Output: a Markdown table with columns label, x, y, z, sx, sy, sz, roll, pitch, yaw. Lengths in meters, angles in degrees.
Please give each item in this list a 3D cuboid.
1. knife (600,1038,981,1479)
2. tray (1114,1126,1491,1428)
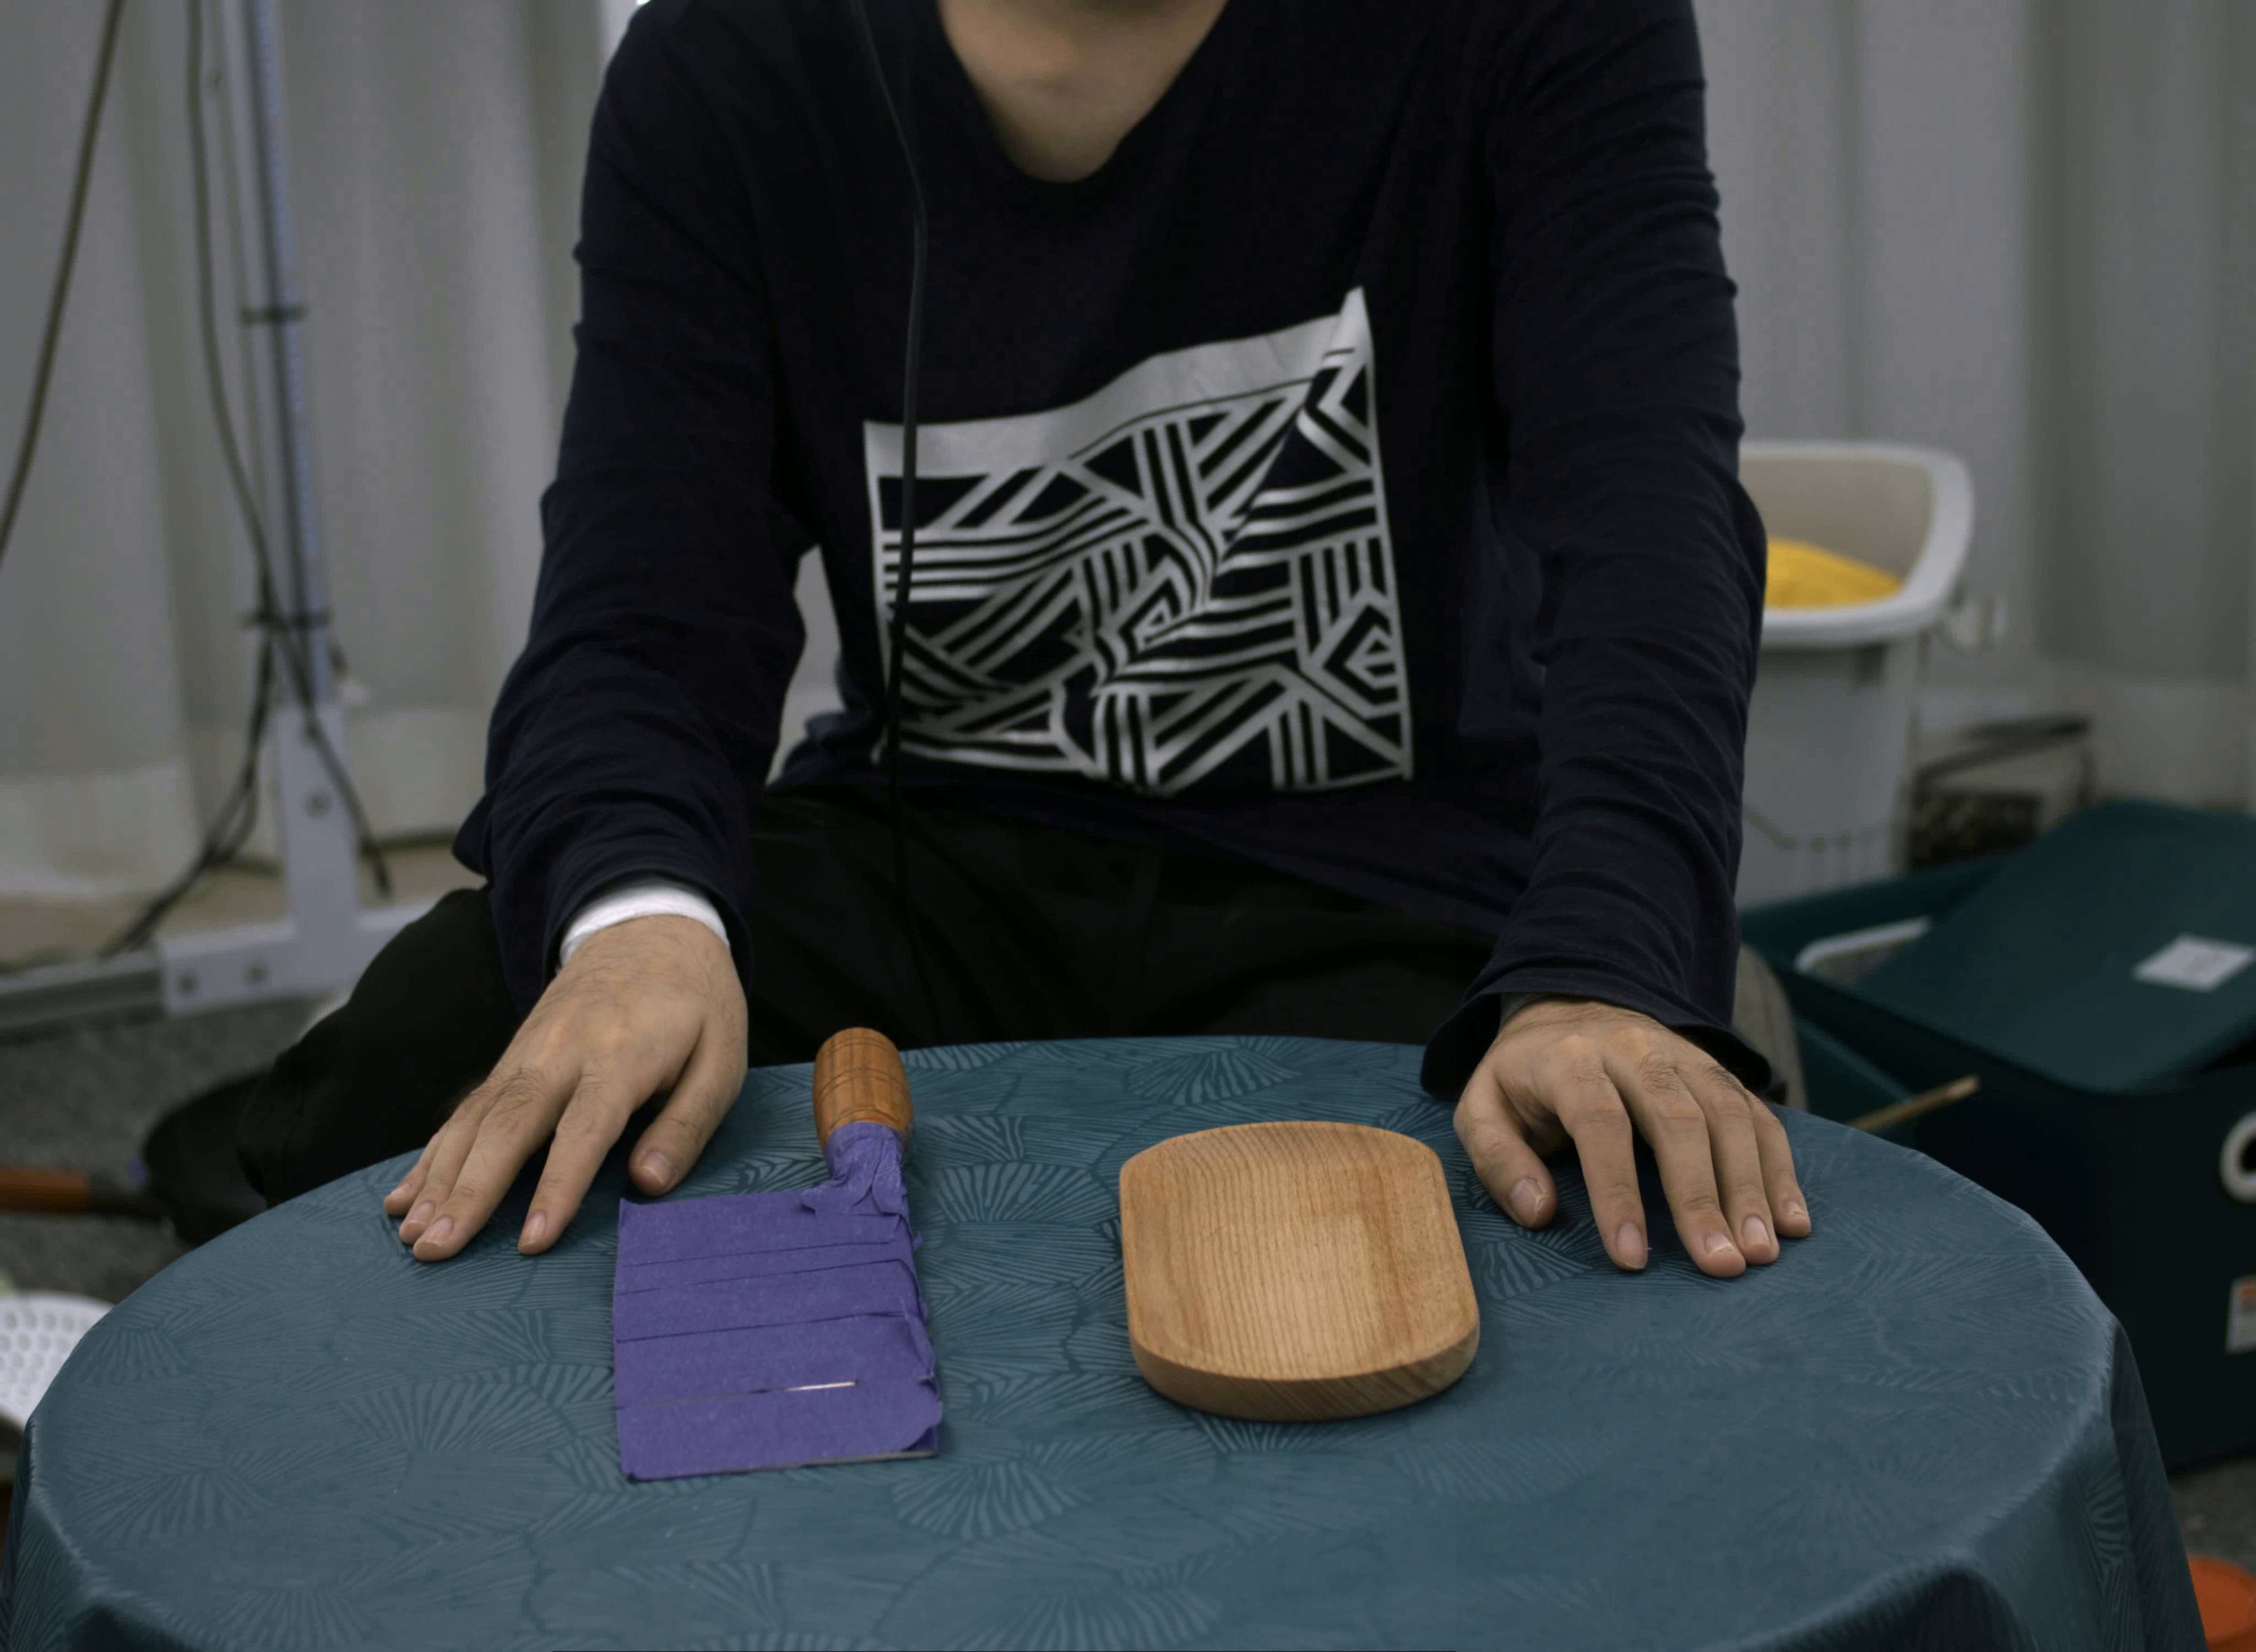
| label | x | y | z | sx | sy | sz | roll | pitch | yaw |
| --- | --- | --- | --- | --- | --- | --- | --- | --- | --- |
| knife | -0.107 | 0.126 | 1.644 | 0.103 | 0.032 | 0.317 | -4 | 15 | -5 |
| tray | 0.049 | 0.131 | 1.616 | 0.101 | 0.020 | 0.233 | -4 | 16 | -2 |
